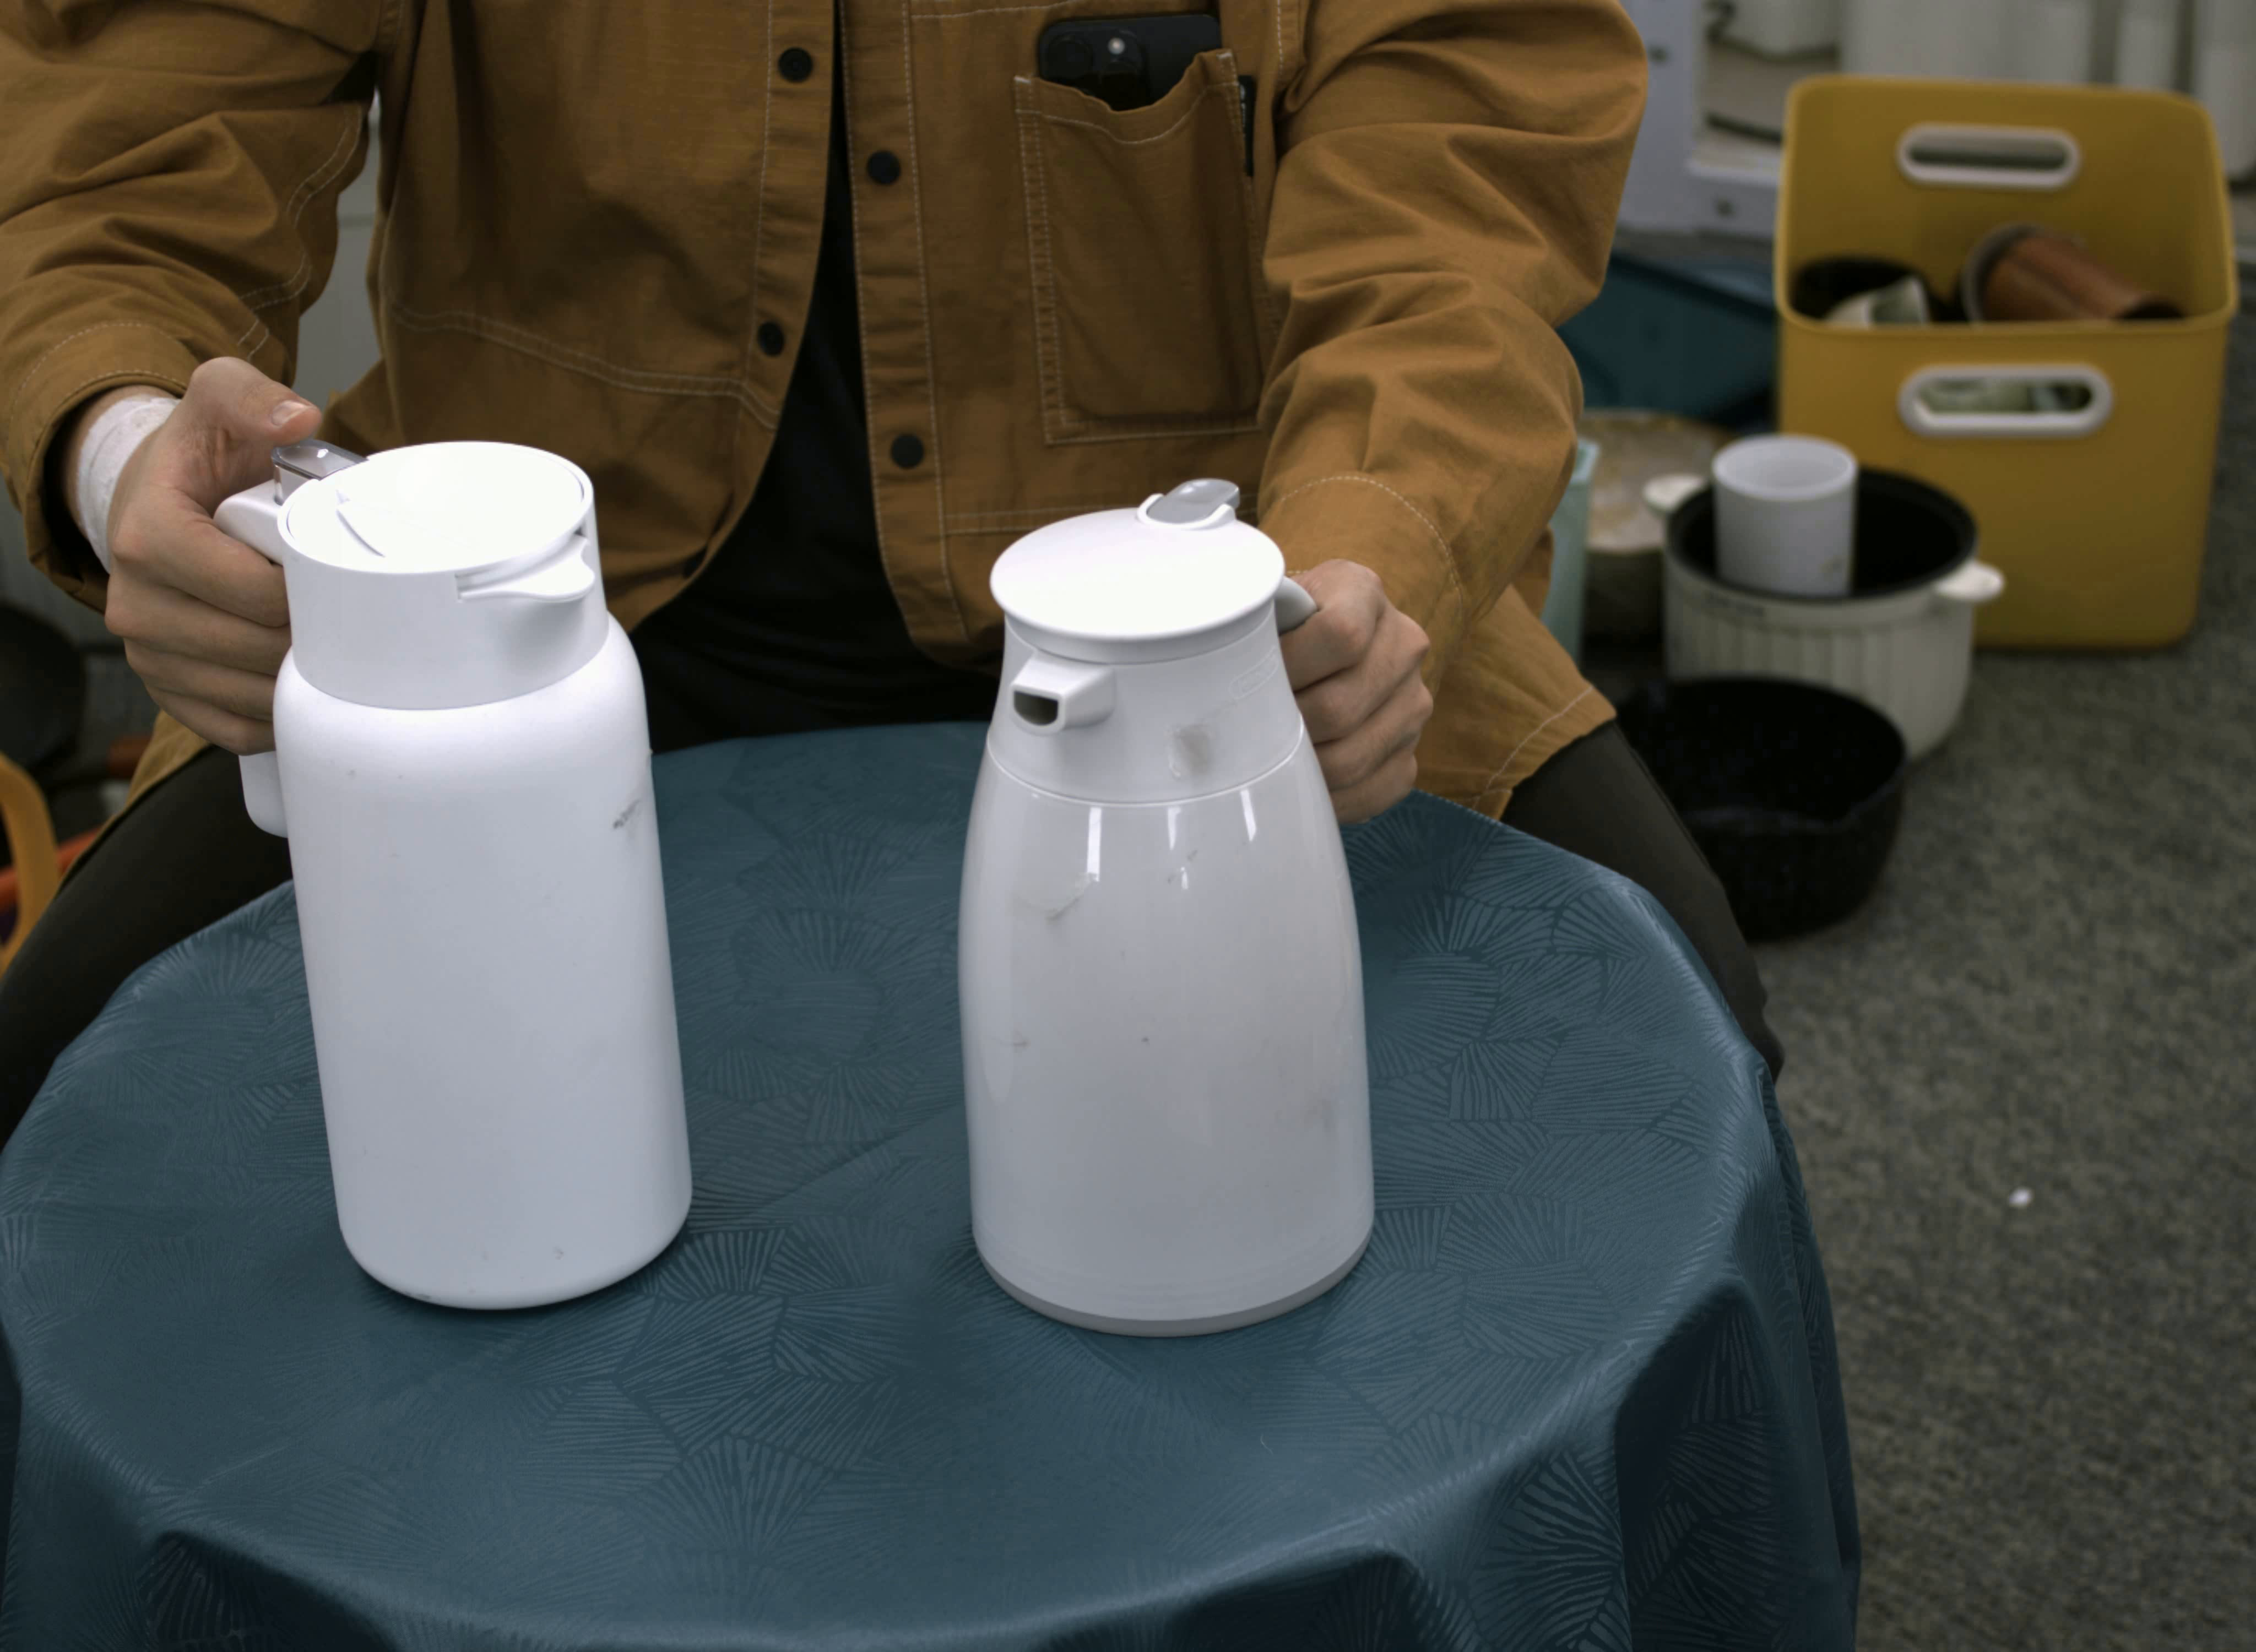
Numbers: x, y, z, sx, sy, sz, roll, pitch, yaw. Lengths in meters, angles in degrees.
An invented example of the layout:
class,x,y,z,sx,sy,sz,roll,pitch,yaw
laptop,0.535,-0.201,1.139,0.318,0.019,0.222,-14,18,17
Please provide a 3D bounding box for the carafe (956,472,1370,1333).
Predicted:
class,x,y,z,sx,sy,sz,roll,pitch,yaw
carafe,0.017,0.014,1.799,0.132,0.246,0.170,12,29,27

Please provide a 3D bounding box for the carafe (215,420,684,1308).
class,x,y,z,sx,sy,sz,roll,pitch,yaw
carafe,-0.222,0.010,1.808,0.172,0.266,0.125,21,36,39
